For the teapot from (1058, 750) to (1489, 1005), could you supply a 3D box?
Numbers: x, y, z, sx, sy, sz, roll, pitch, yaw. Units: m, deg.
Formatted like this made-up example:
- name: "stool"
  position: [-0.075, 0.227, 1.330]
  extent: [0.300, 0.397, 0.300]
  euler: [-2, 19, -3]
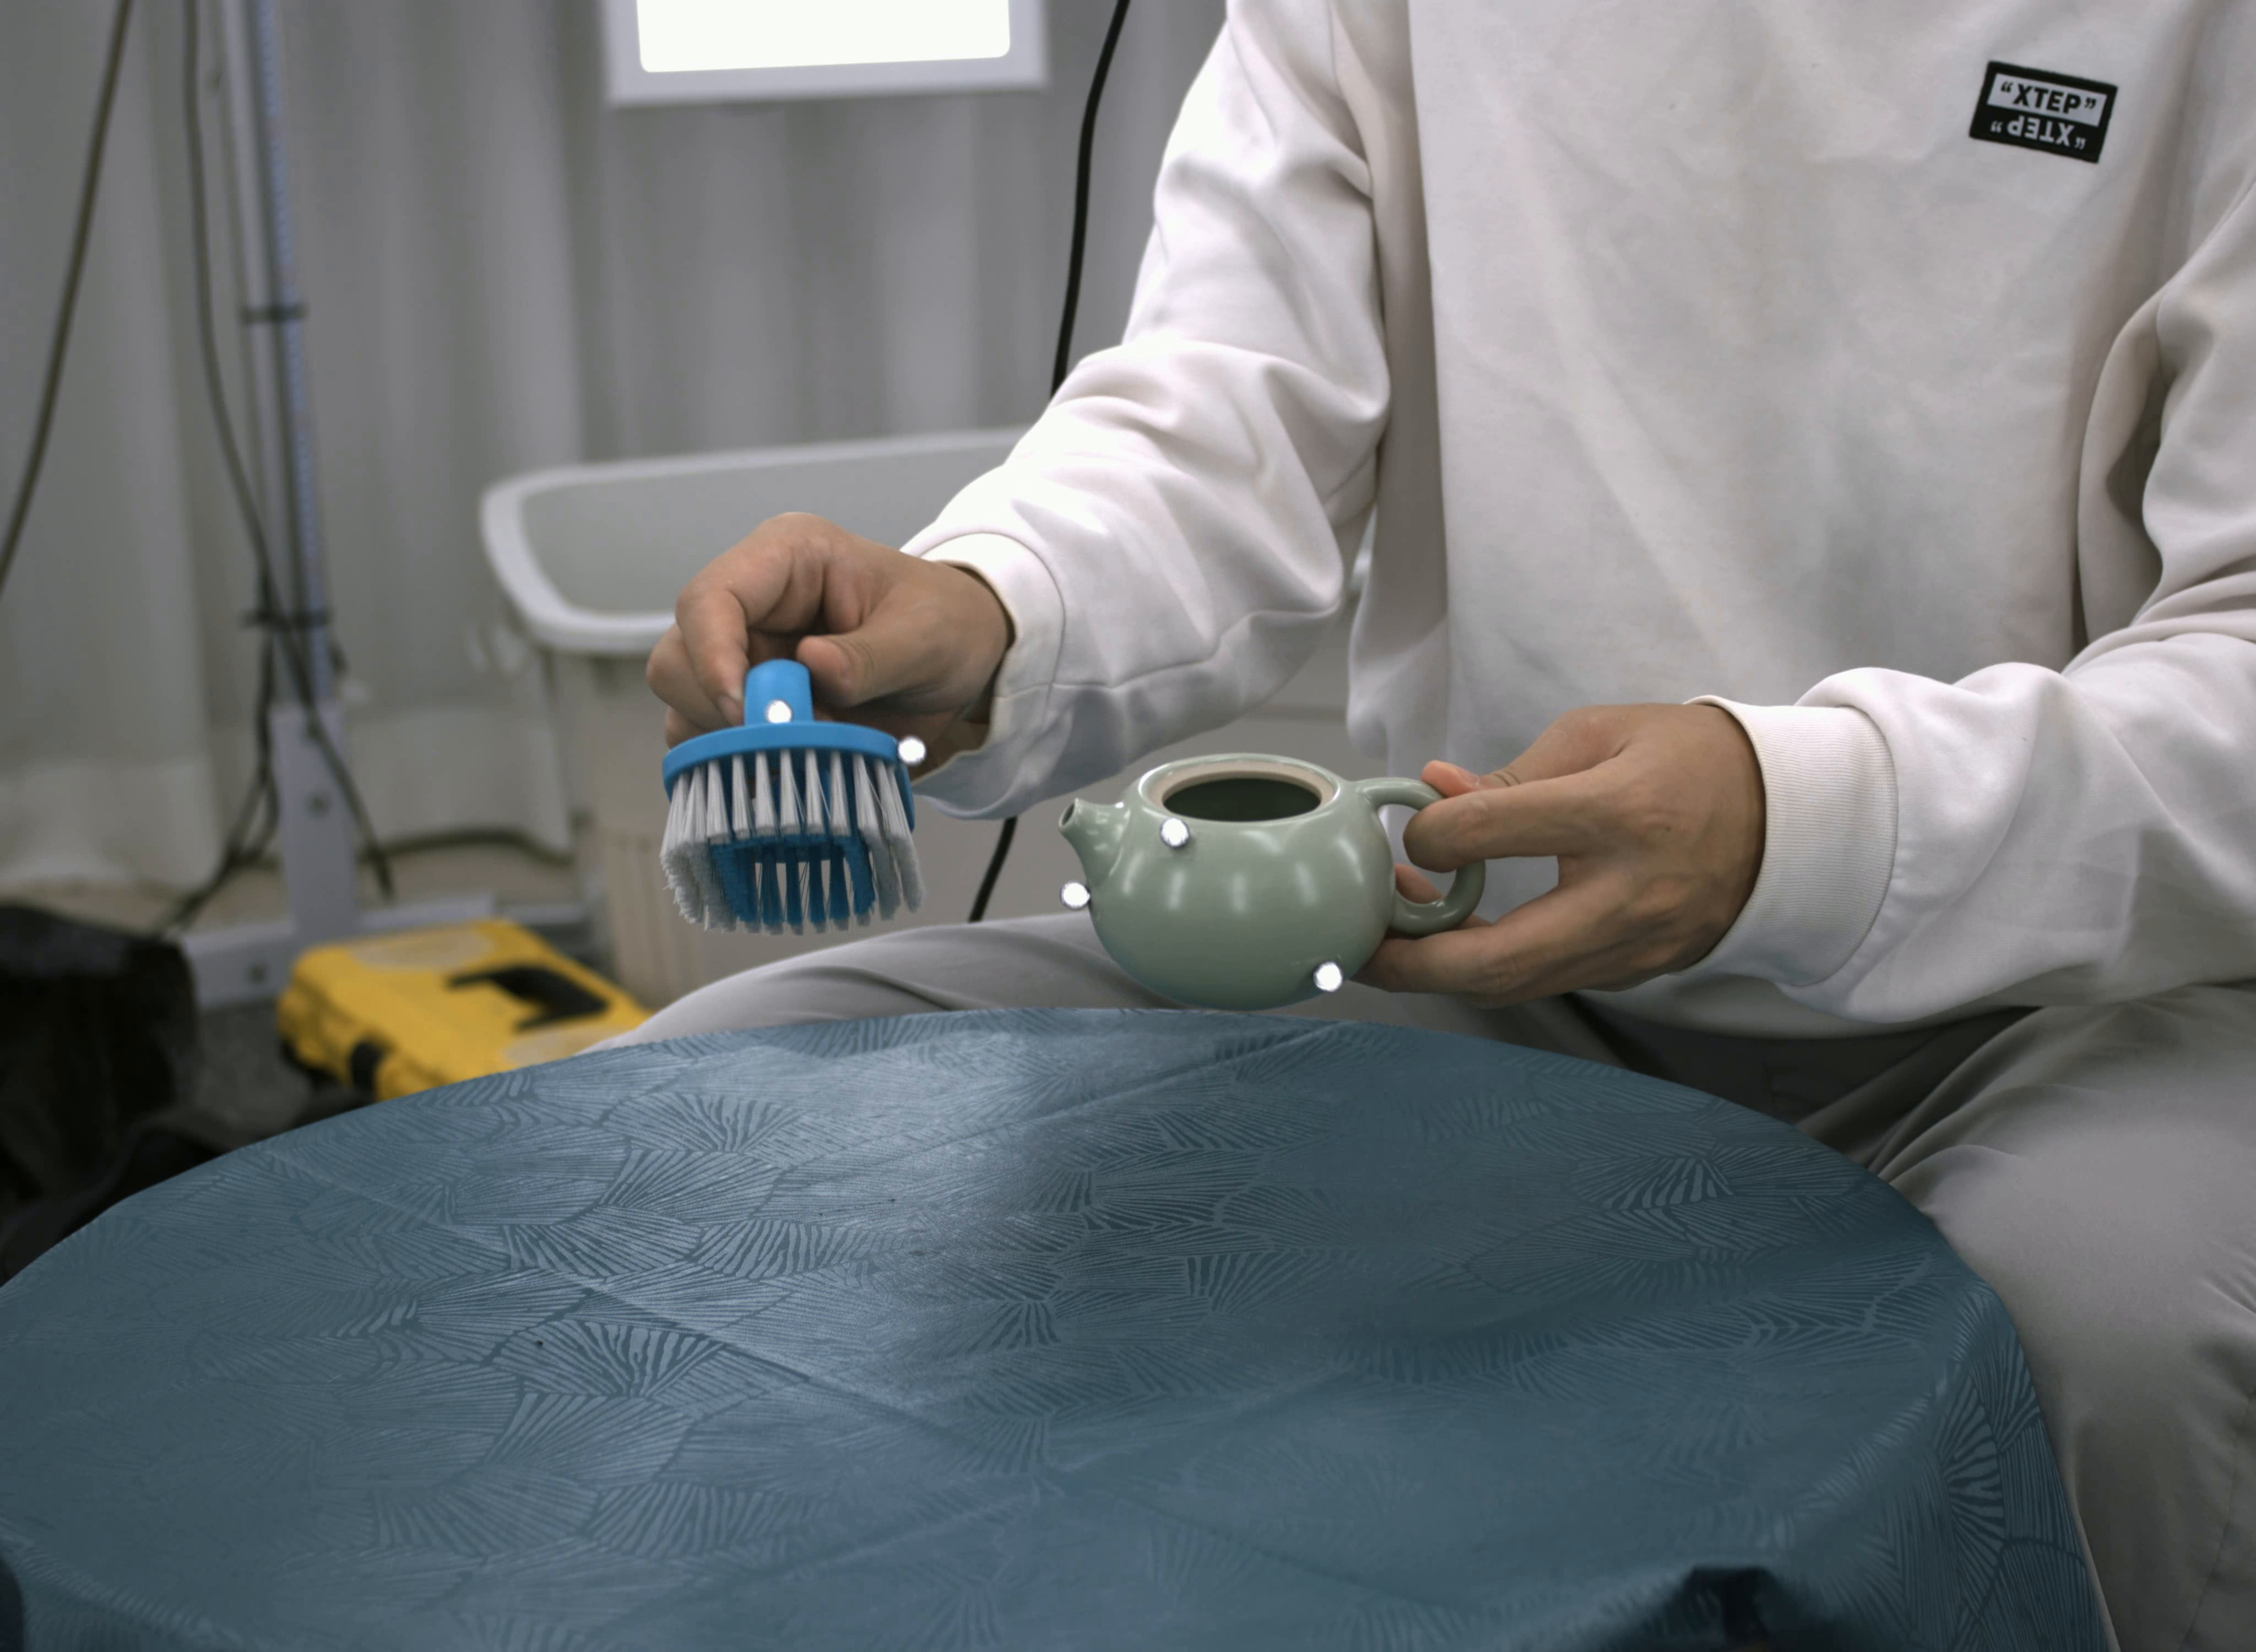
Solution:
- name: "teapot"
  position: [0.043, 0.015, 1.610]
  extent: [0.128, 0.060, 0.092]
  euler: [-2, 18, -5]

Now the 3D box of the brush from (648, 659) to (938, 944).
- name: "brush"
  position: [-0.103, -0.012, 1.667]
  extent: [0.084, 0.064, 0.141]
  euler: [-8, -16, -3]
